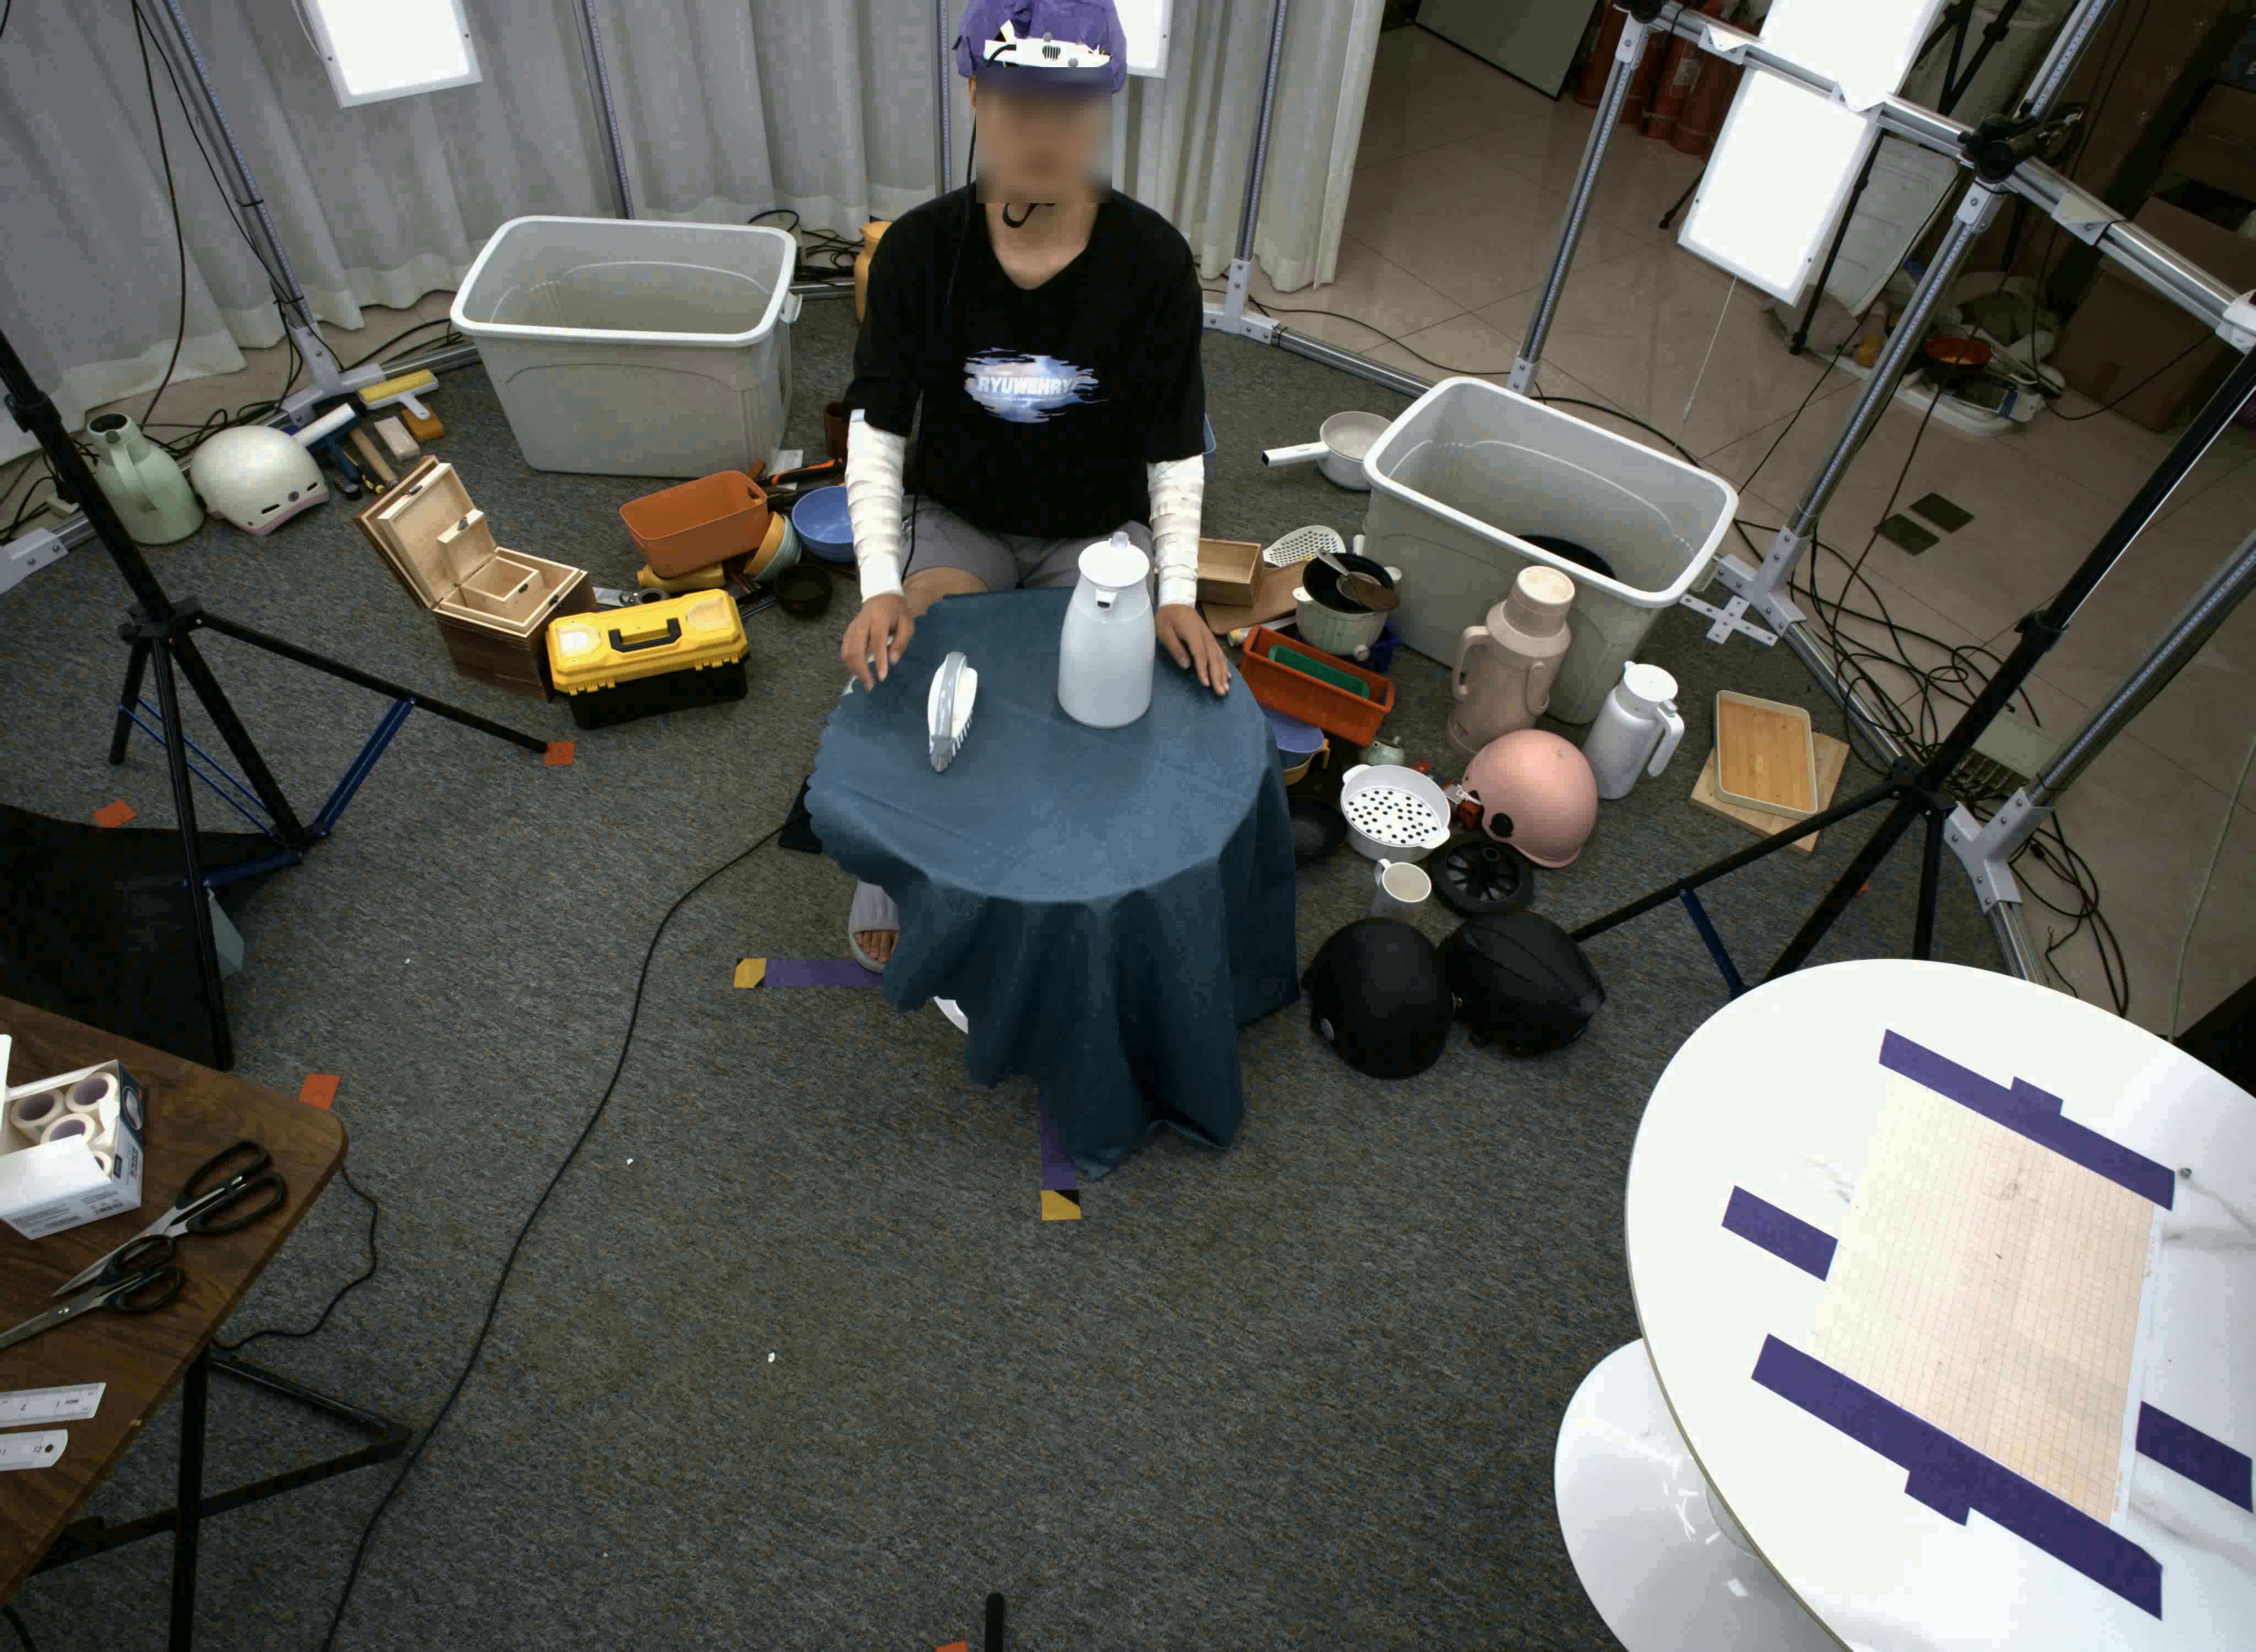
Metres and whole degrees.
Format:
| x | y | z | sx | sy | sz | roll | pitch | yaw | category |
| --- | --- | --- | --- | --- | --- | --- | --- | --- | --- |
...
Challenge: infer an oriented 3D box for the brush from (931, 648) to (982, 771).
| x | y | z | sx | sy | sz | roll | pitch | yaw | category |
| --- | --- | --- | --- | --- | --- | --- | --- | --- | --- |
| -0.238 | -0.167 | 1.744 | 0.061 | 0.092 | 0.180 | 4 | 51 | 3 | brush |

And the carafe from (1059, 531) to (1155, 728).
| x | y | z | sx | sy | sz | roll | pitch | yaw | category |
| --- | --- | --- | --- | --- | --- | --- | --- | --- | --- |
| -0.024 | -0.280 | 1.754 | 0.132 | 0.242 | 0.171 | 9 | 49 | 4 | carafe |
